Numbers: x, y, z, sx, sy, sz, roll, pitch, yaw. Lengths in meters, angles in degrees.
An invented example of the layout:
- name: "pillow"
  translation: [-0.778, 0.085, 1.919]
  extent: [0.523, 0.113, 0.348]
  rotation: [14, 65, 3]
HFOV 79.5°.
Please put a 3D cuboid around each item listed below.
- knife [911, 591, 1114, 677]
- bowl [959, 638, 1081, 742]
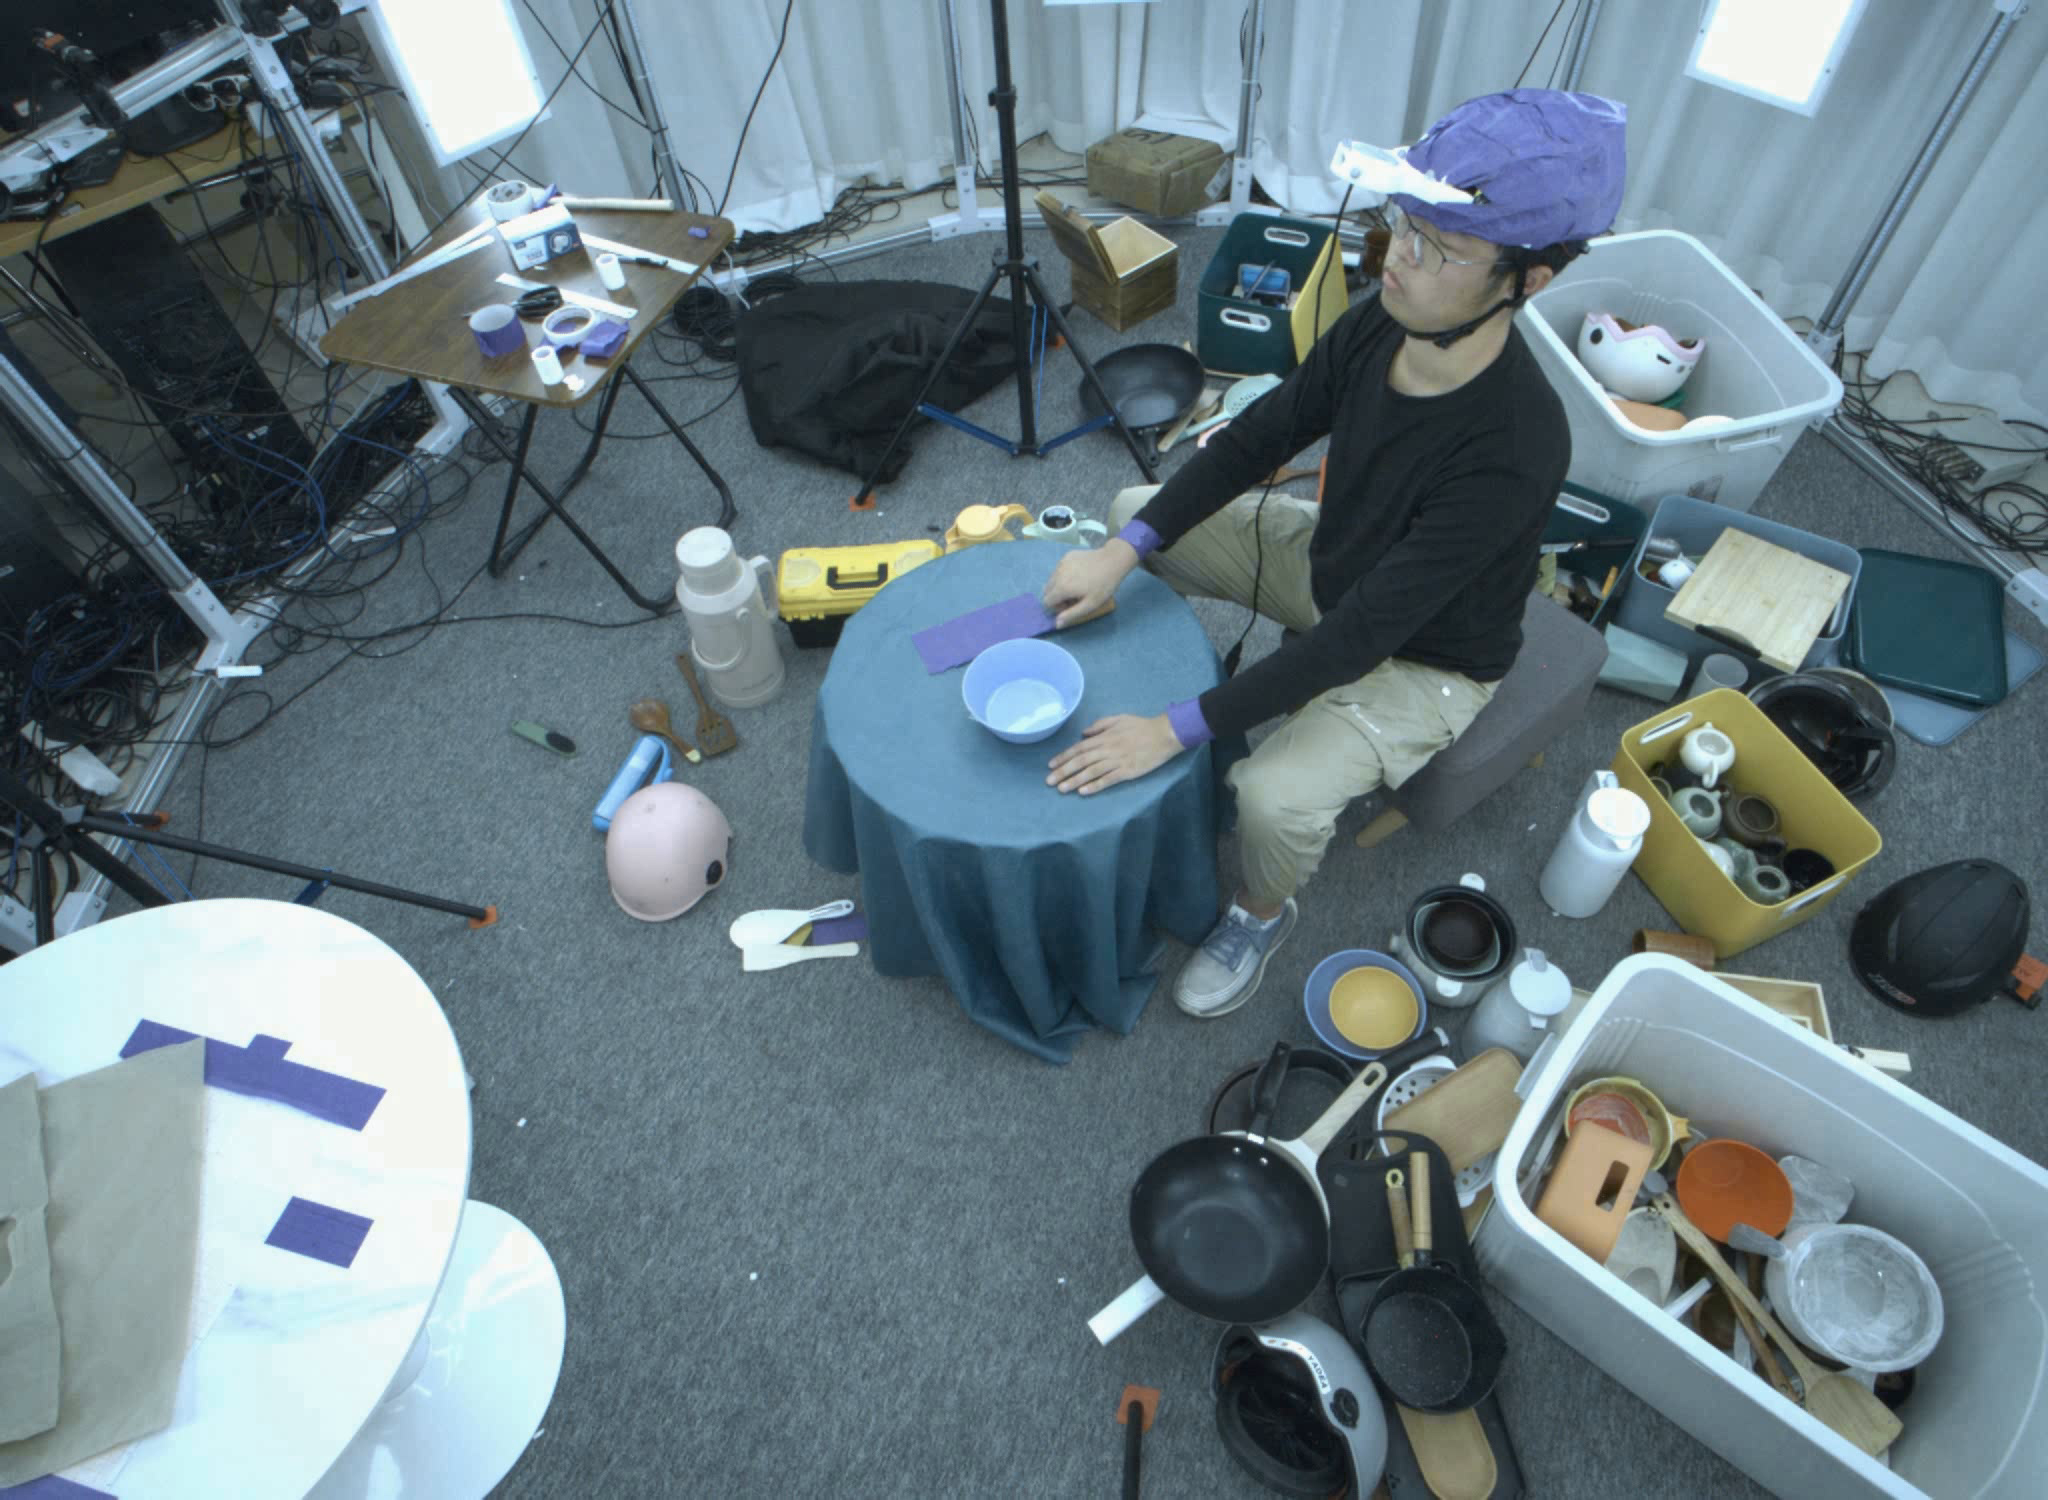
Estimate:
- name: "knife"
  translation: [-0.021, -0.203, 1.913]
  extent: [0.317, 0.032, 0.102]
  rotation: [-20, 57, -12]
- name: "bowl"
  translation: [-0.005, -0.078, 1.796]
  extent: [0.176, 0.071, 0.174]
  rotation: [1, 55, 0]
